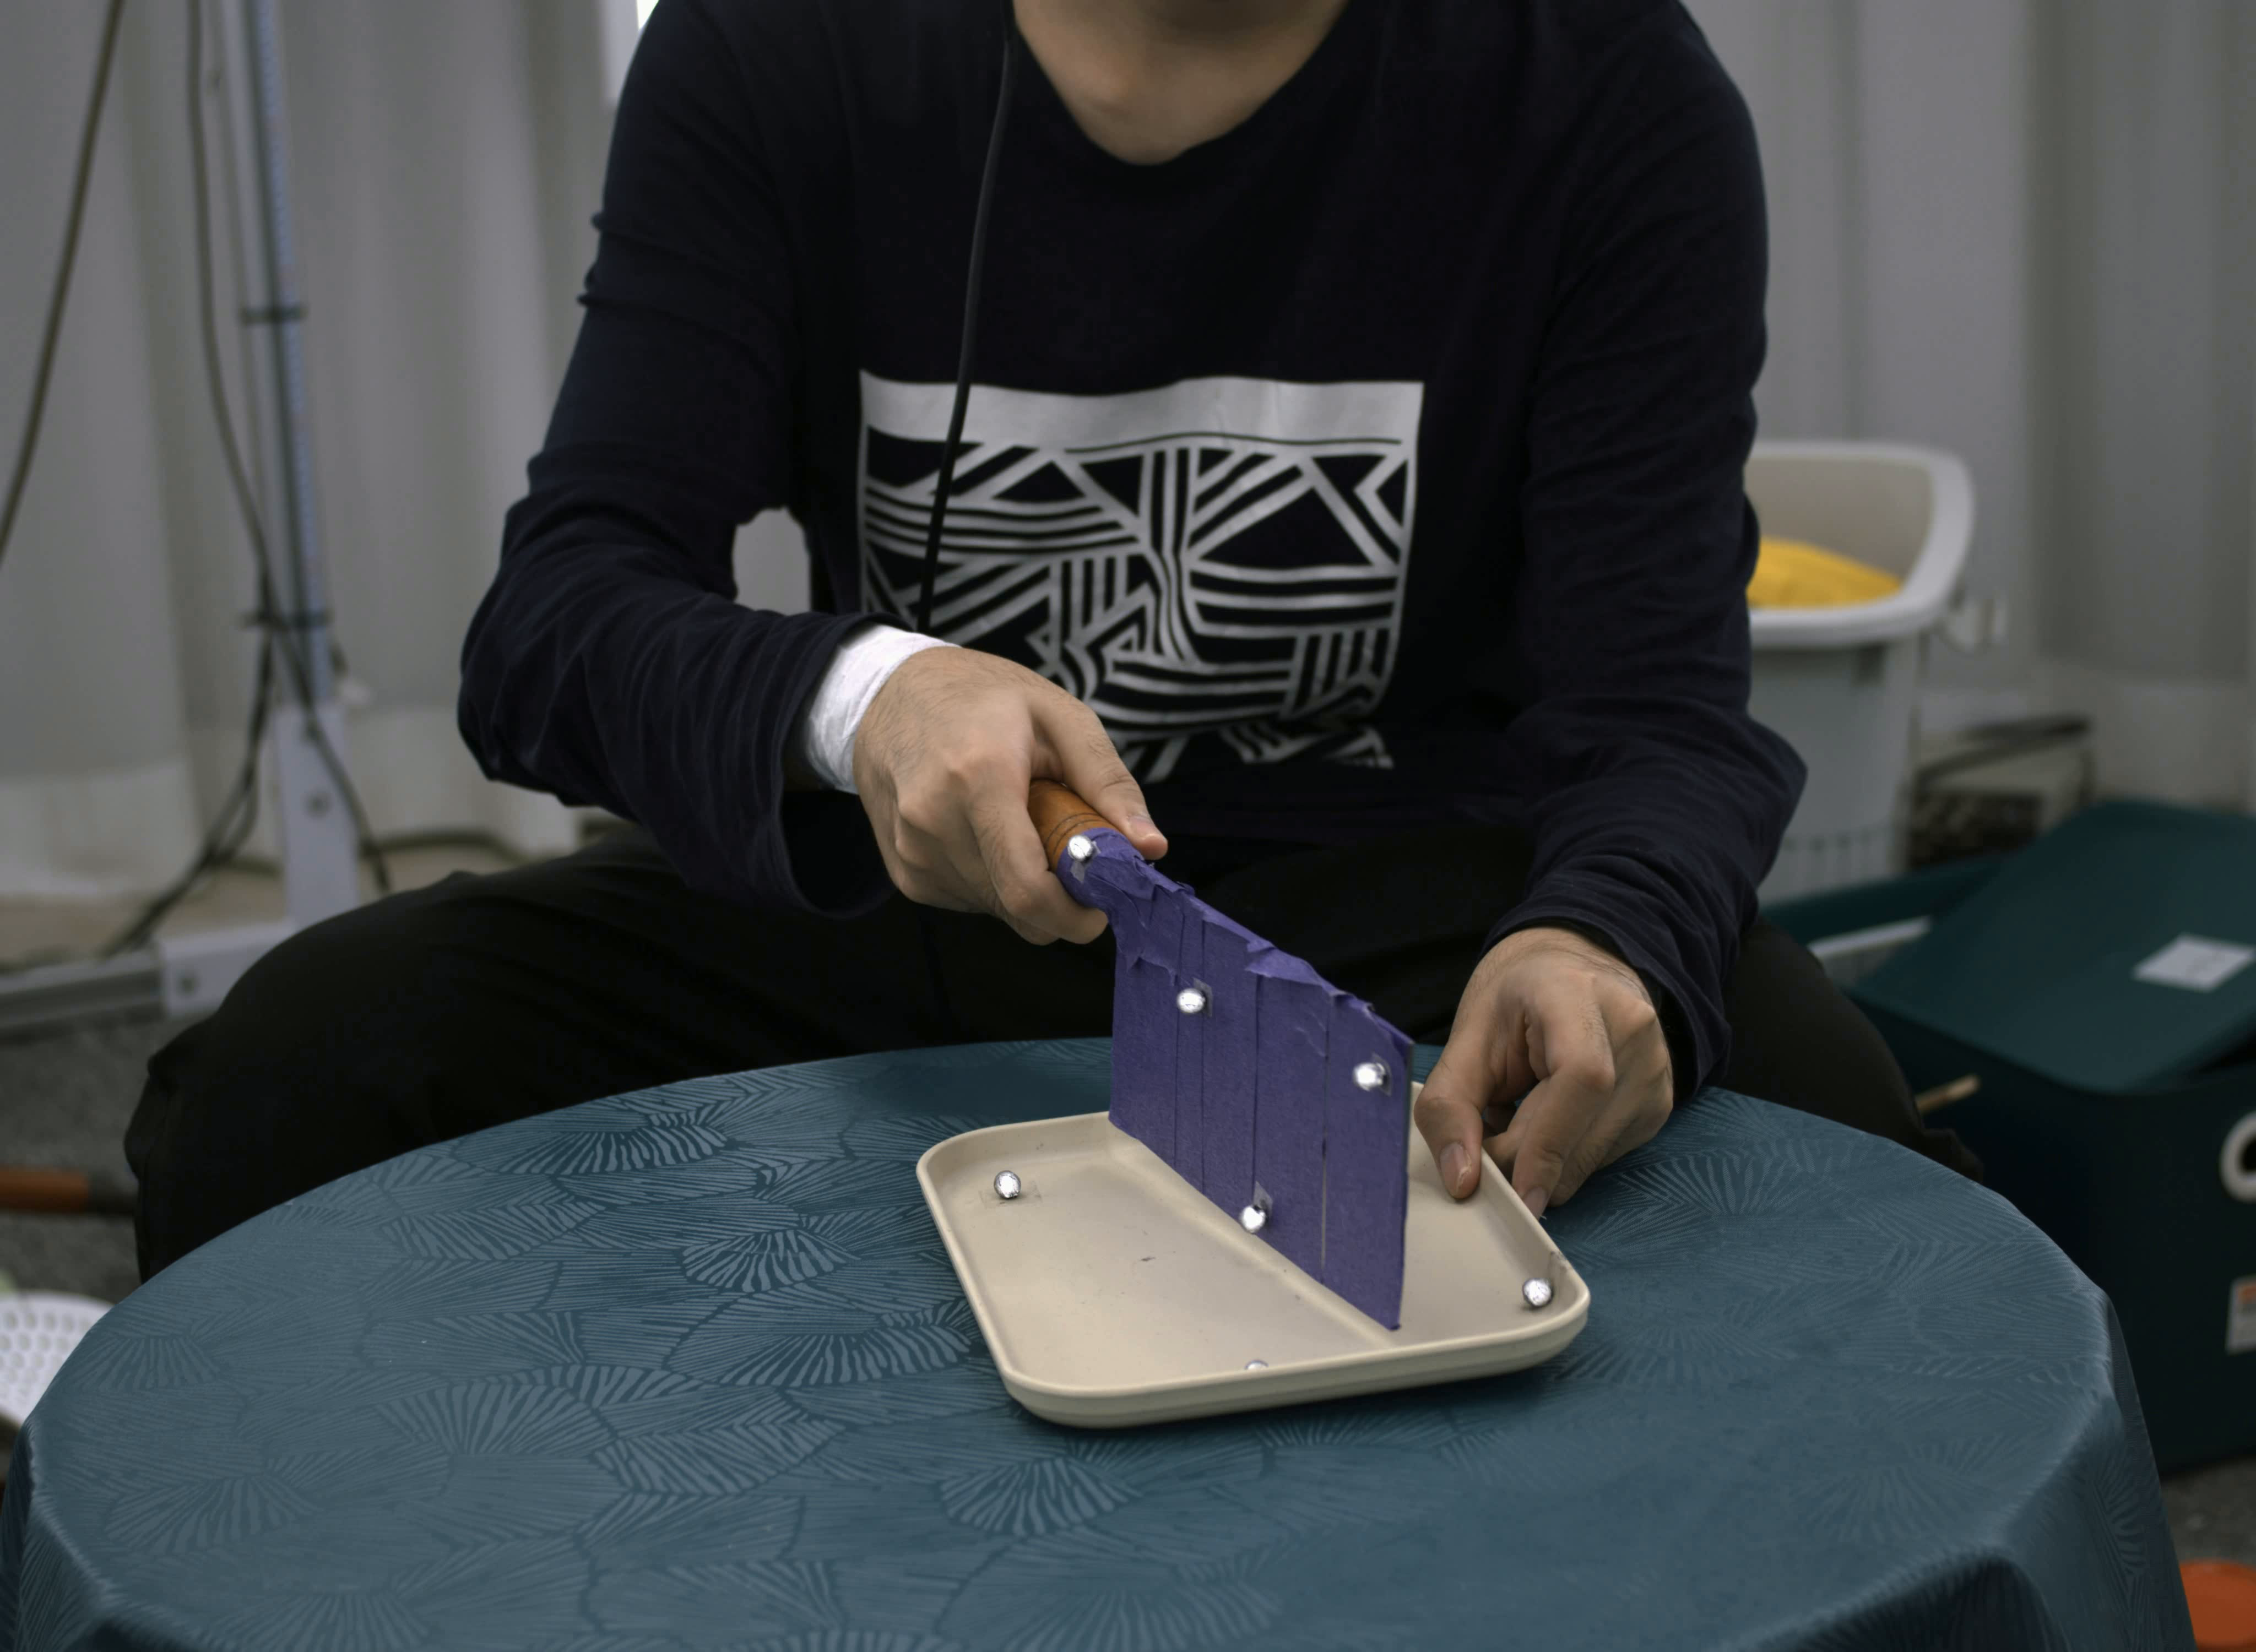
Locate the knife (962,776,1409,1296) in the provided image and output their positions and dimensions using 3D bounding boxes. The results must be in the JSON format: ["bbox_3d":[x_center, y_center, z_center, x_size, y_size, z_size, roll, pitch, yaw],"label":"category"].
[{"bbox_3d":[0.014,0.062,1.668,0.032,0.103,0.318,-2,14,-21],"label":"knife"}]

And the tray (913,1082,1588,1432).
[{"bbox_3d":[0.032,0.126,1.623,0.170,0.017,0.241,-8,16,-8],"label":"tray"}]
